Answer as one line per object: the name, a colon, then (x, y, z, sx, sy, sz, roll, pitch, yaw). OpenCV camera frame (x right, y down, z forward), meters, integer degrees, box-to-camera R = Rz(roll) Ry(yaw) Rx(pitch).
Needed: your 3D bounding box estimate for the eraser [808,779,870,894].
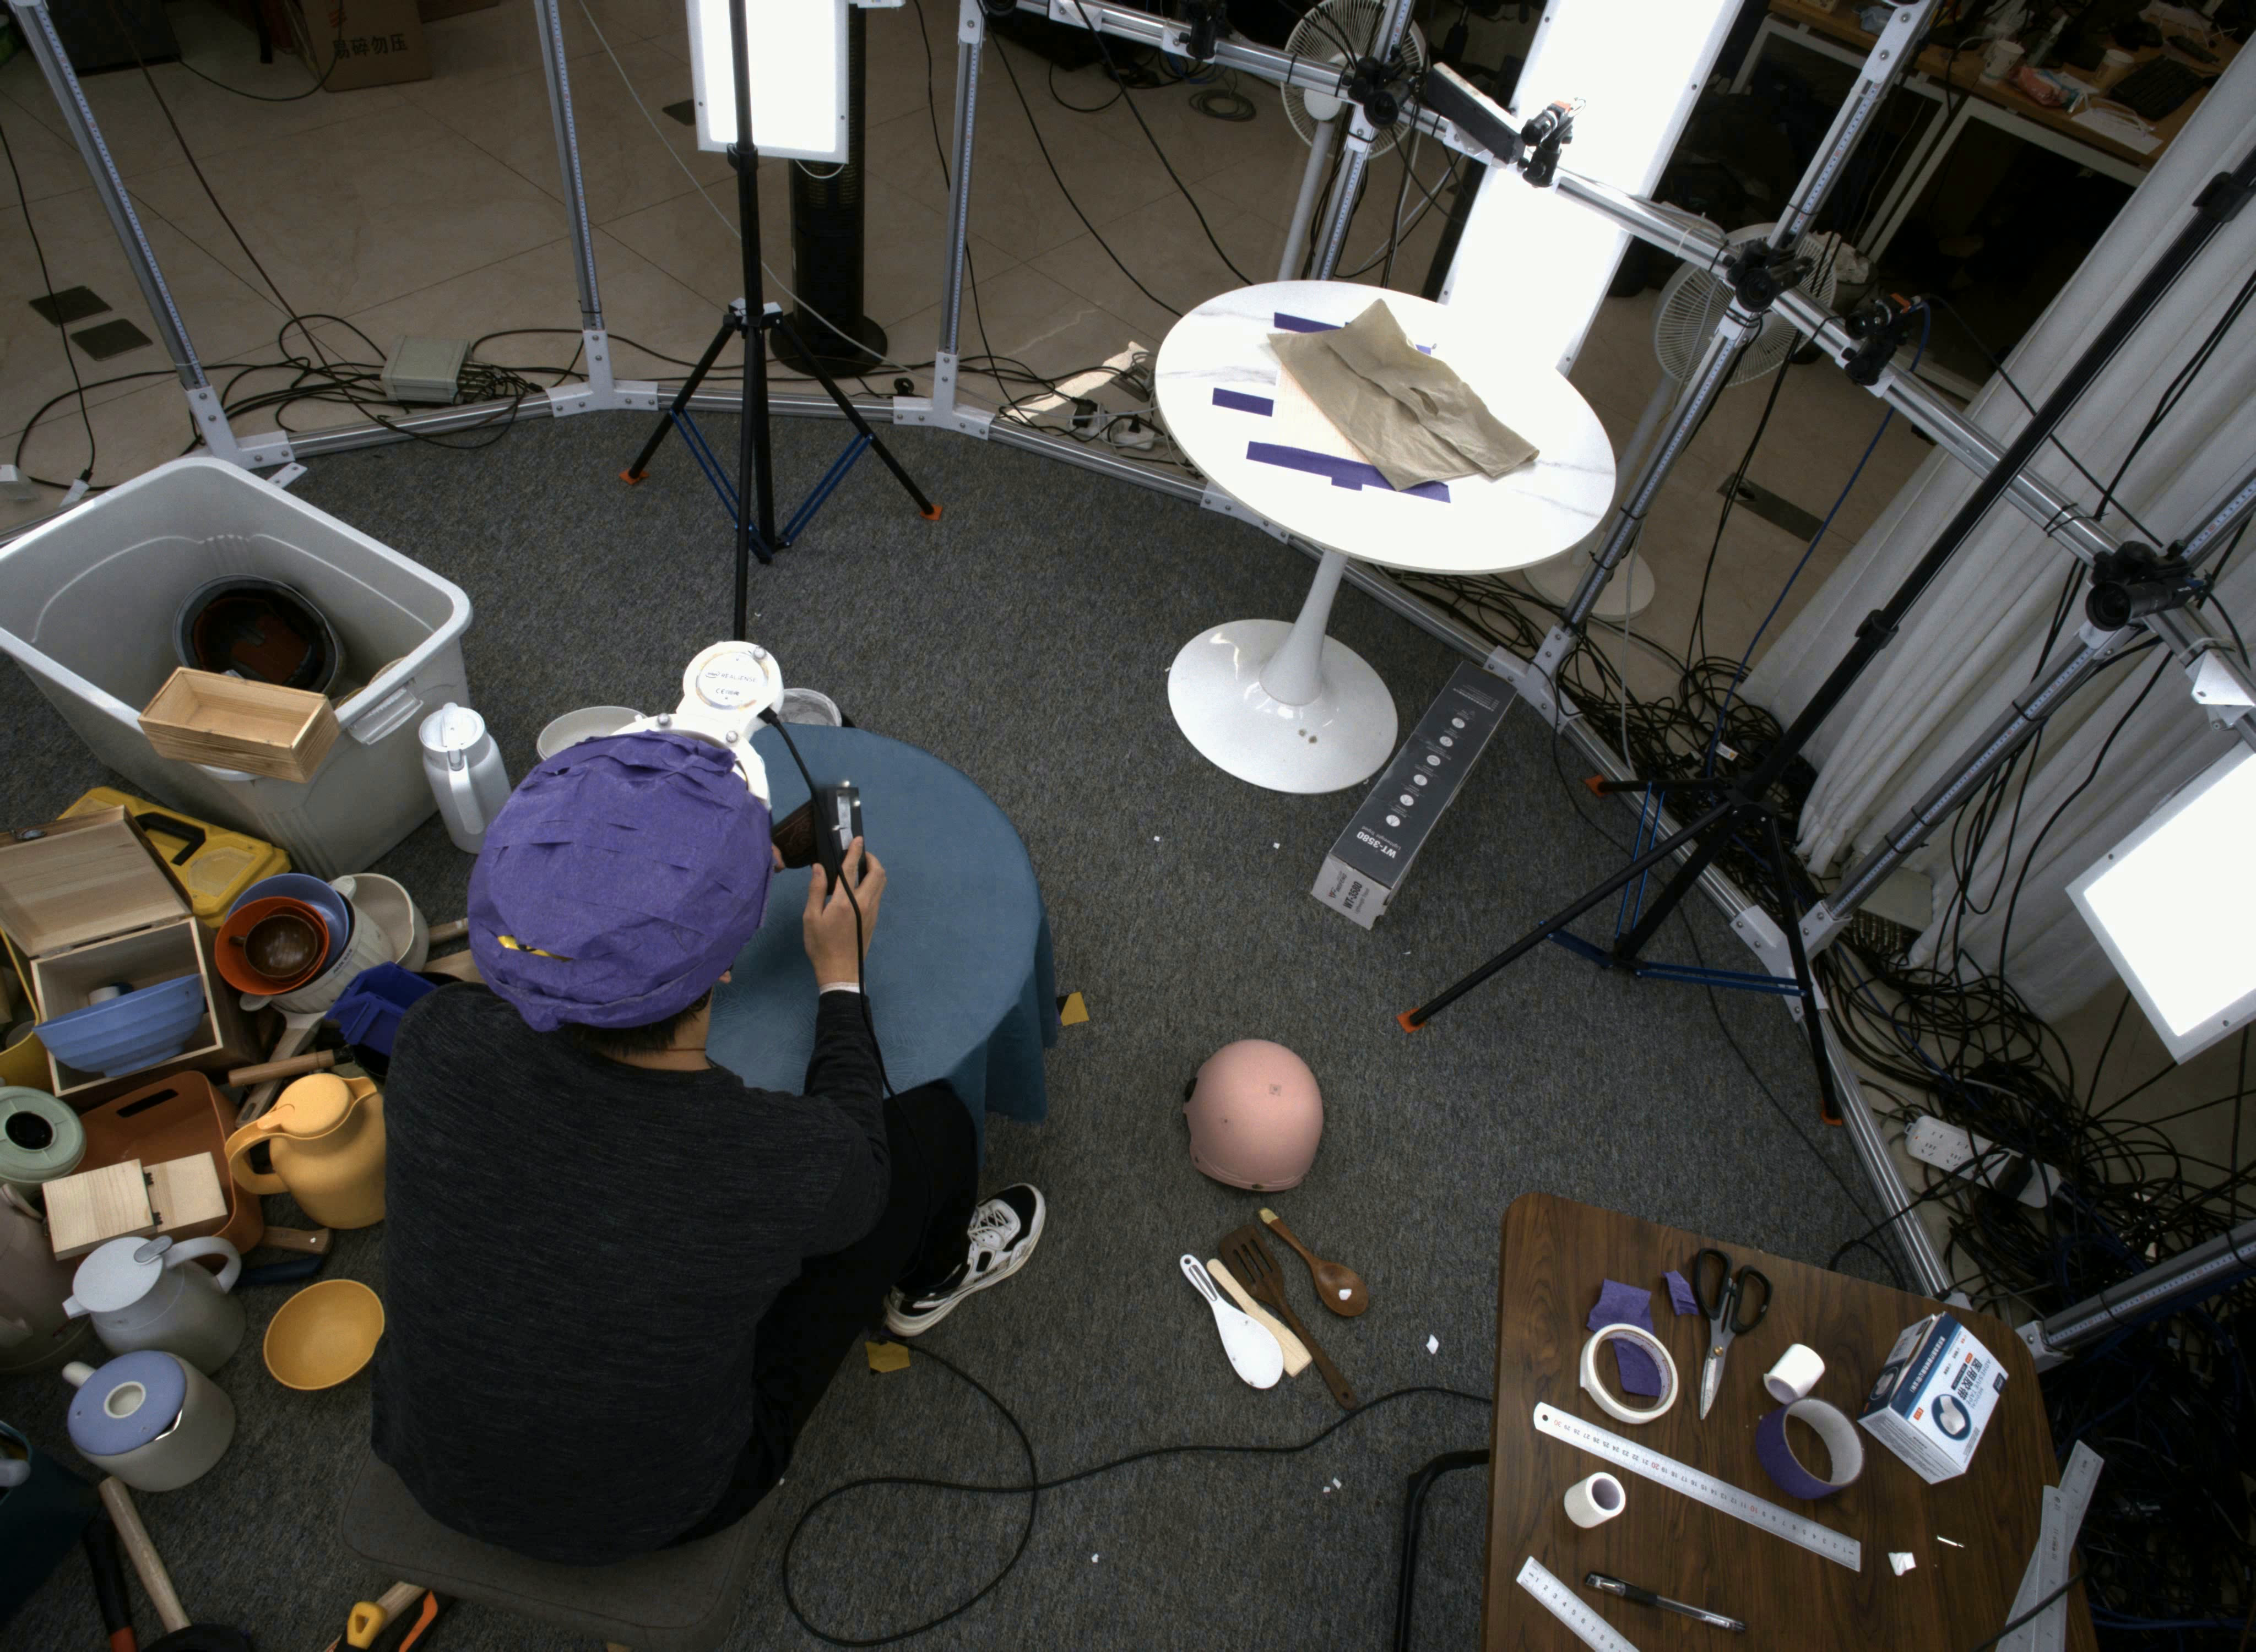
eraser: (-0.335, 0.011, 1.502, 0.054, 0.029, 0.128, -12, 98, -44)

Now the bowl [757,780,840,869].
bowl: (-0.377, 0.006, 1.553, 0.118, 0.115, 0.071, -44, 105, -36)
